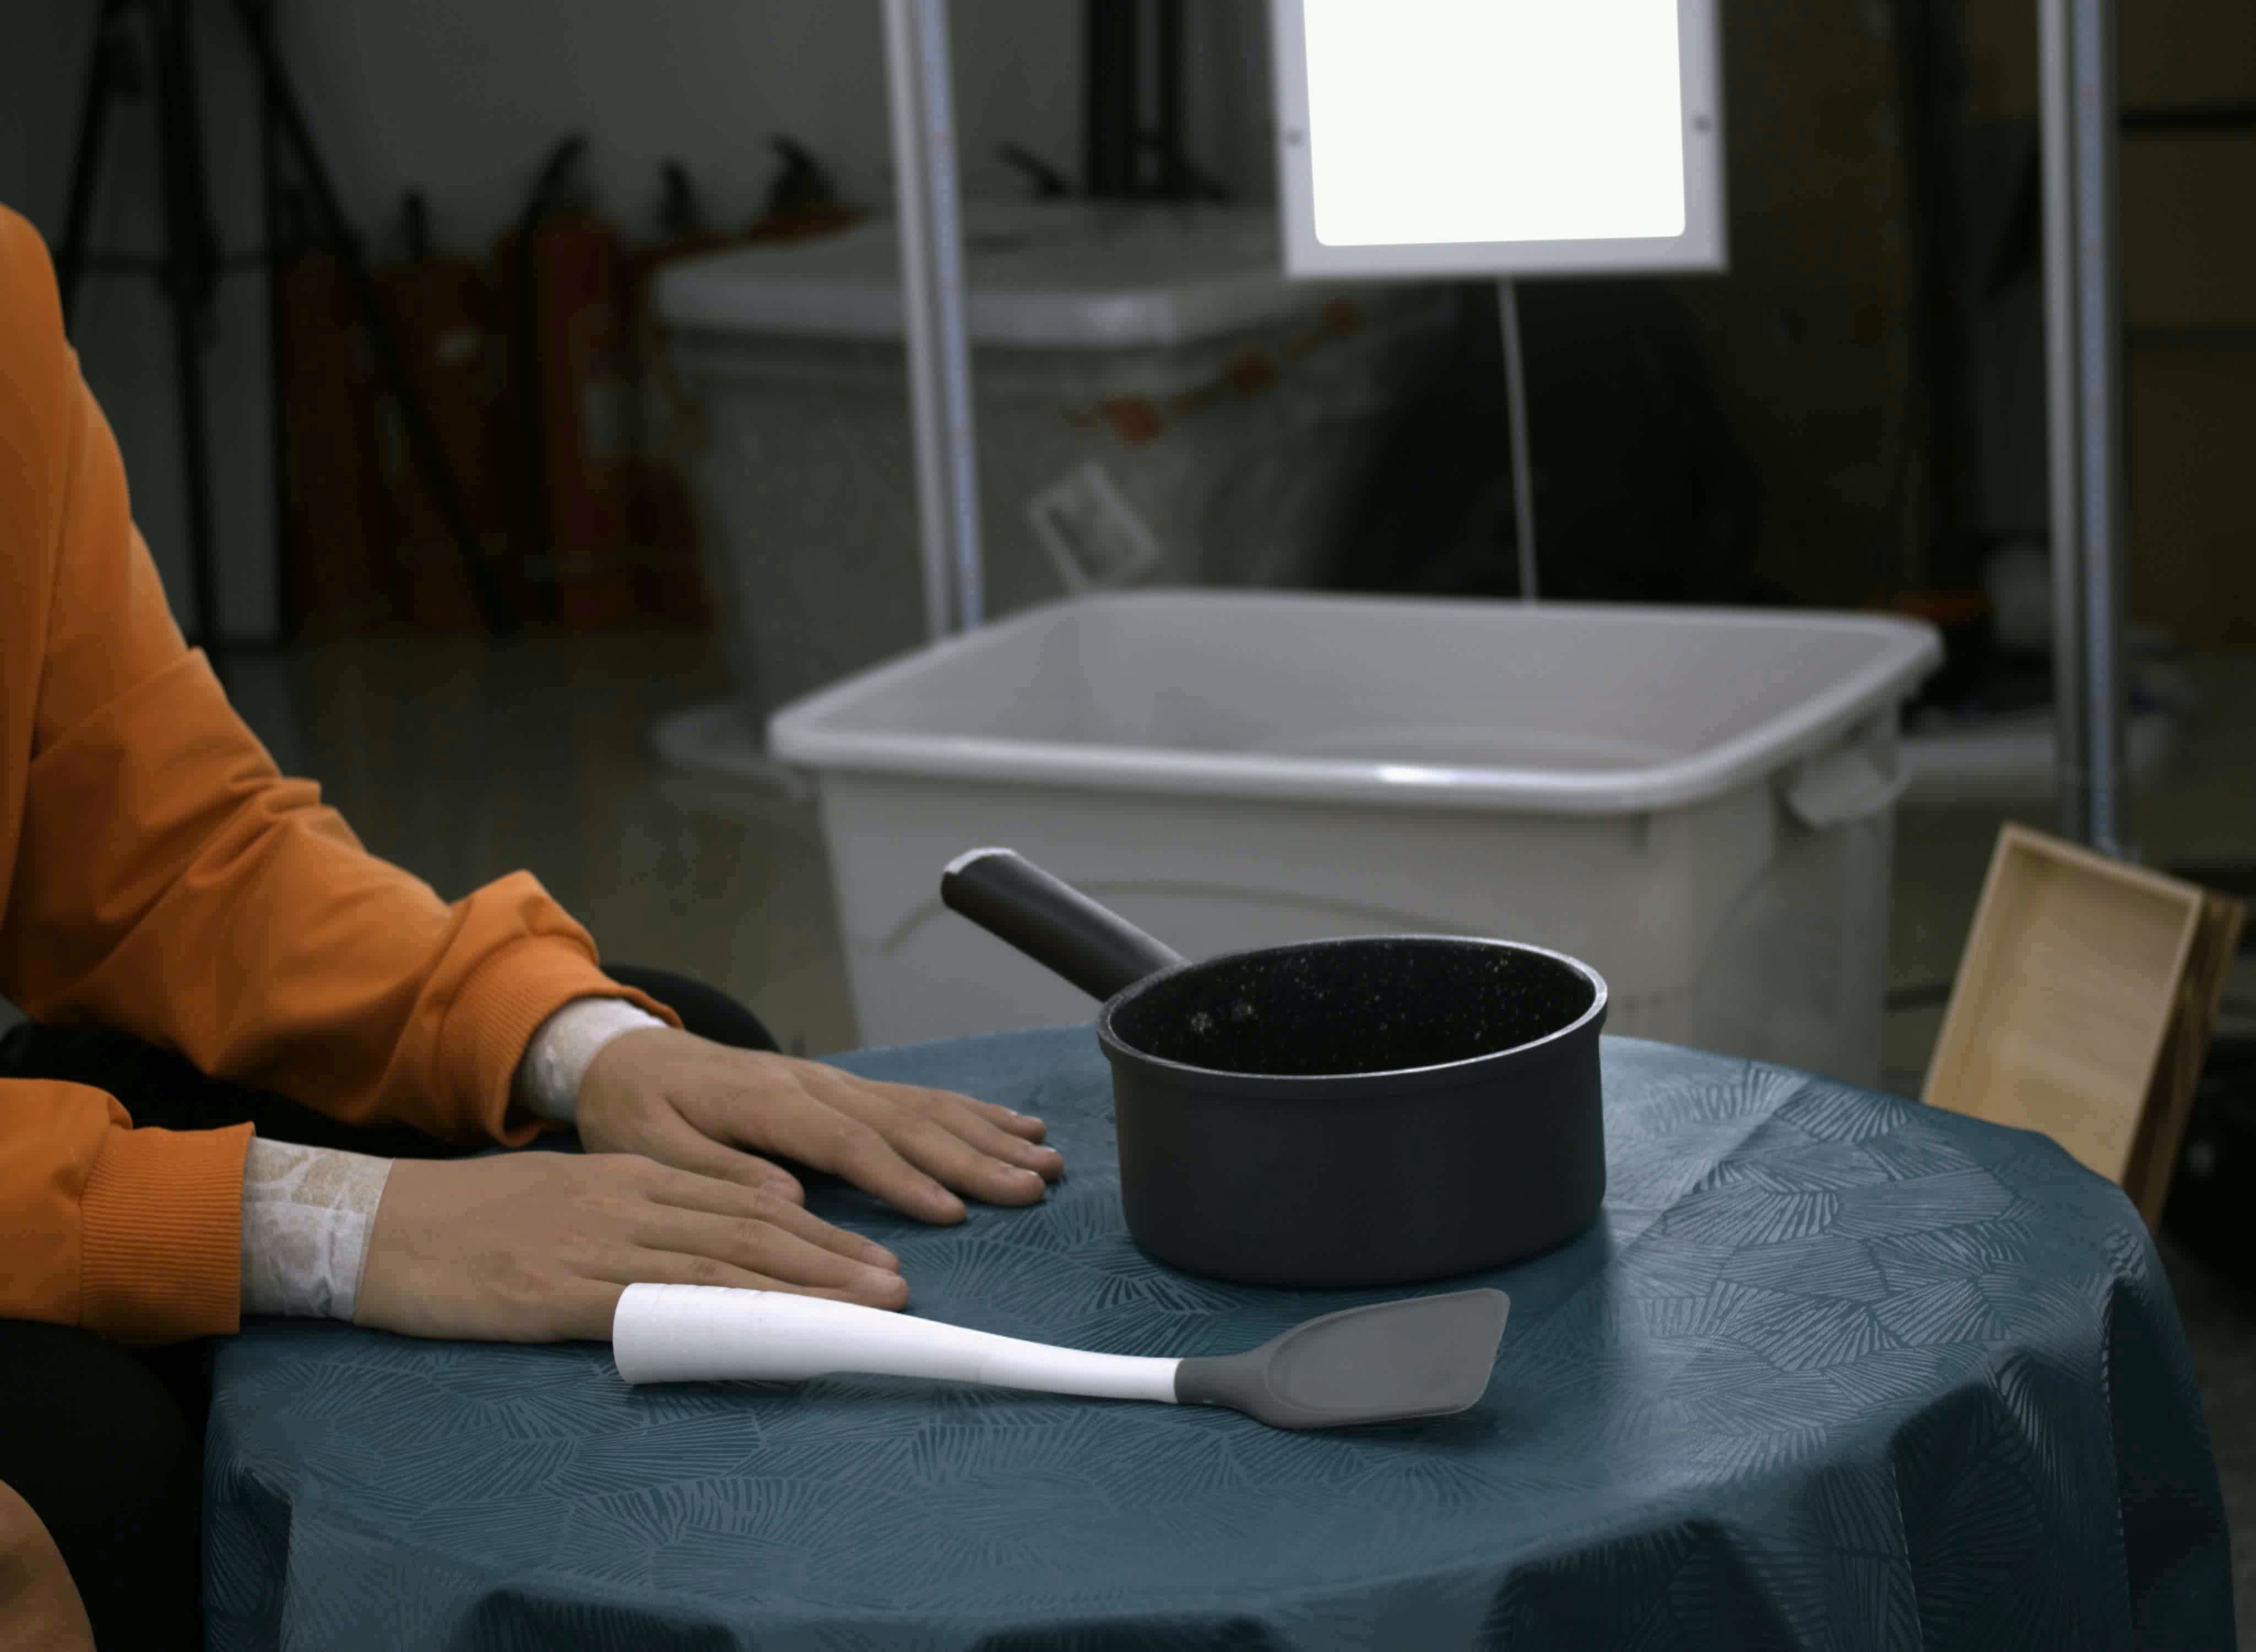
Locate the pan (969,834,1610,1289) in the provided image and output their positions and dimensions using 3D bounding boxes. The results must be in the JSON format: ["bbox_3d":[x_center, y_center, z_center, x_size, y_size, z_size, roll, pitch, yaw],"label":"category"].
[{"bbox_3d":[0.037,0.077,1.906,0.168,0.087,0.334,-11,17,-28],"label":"pan"}]

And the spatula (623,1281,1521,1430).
[{"bbox_3d":[-0.018,0.162,1.693,0.291,0.032,0.058,0,38,22],"label":"spatula"}]
